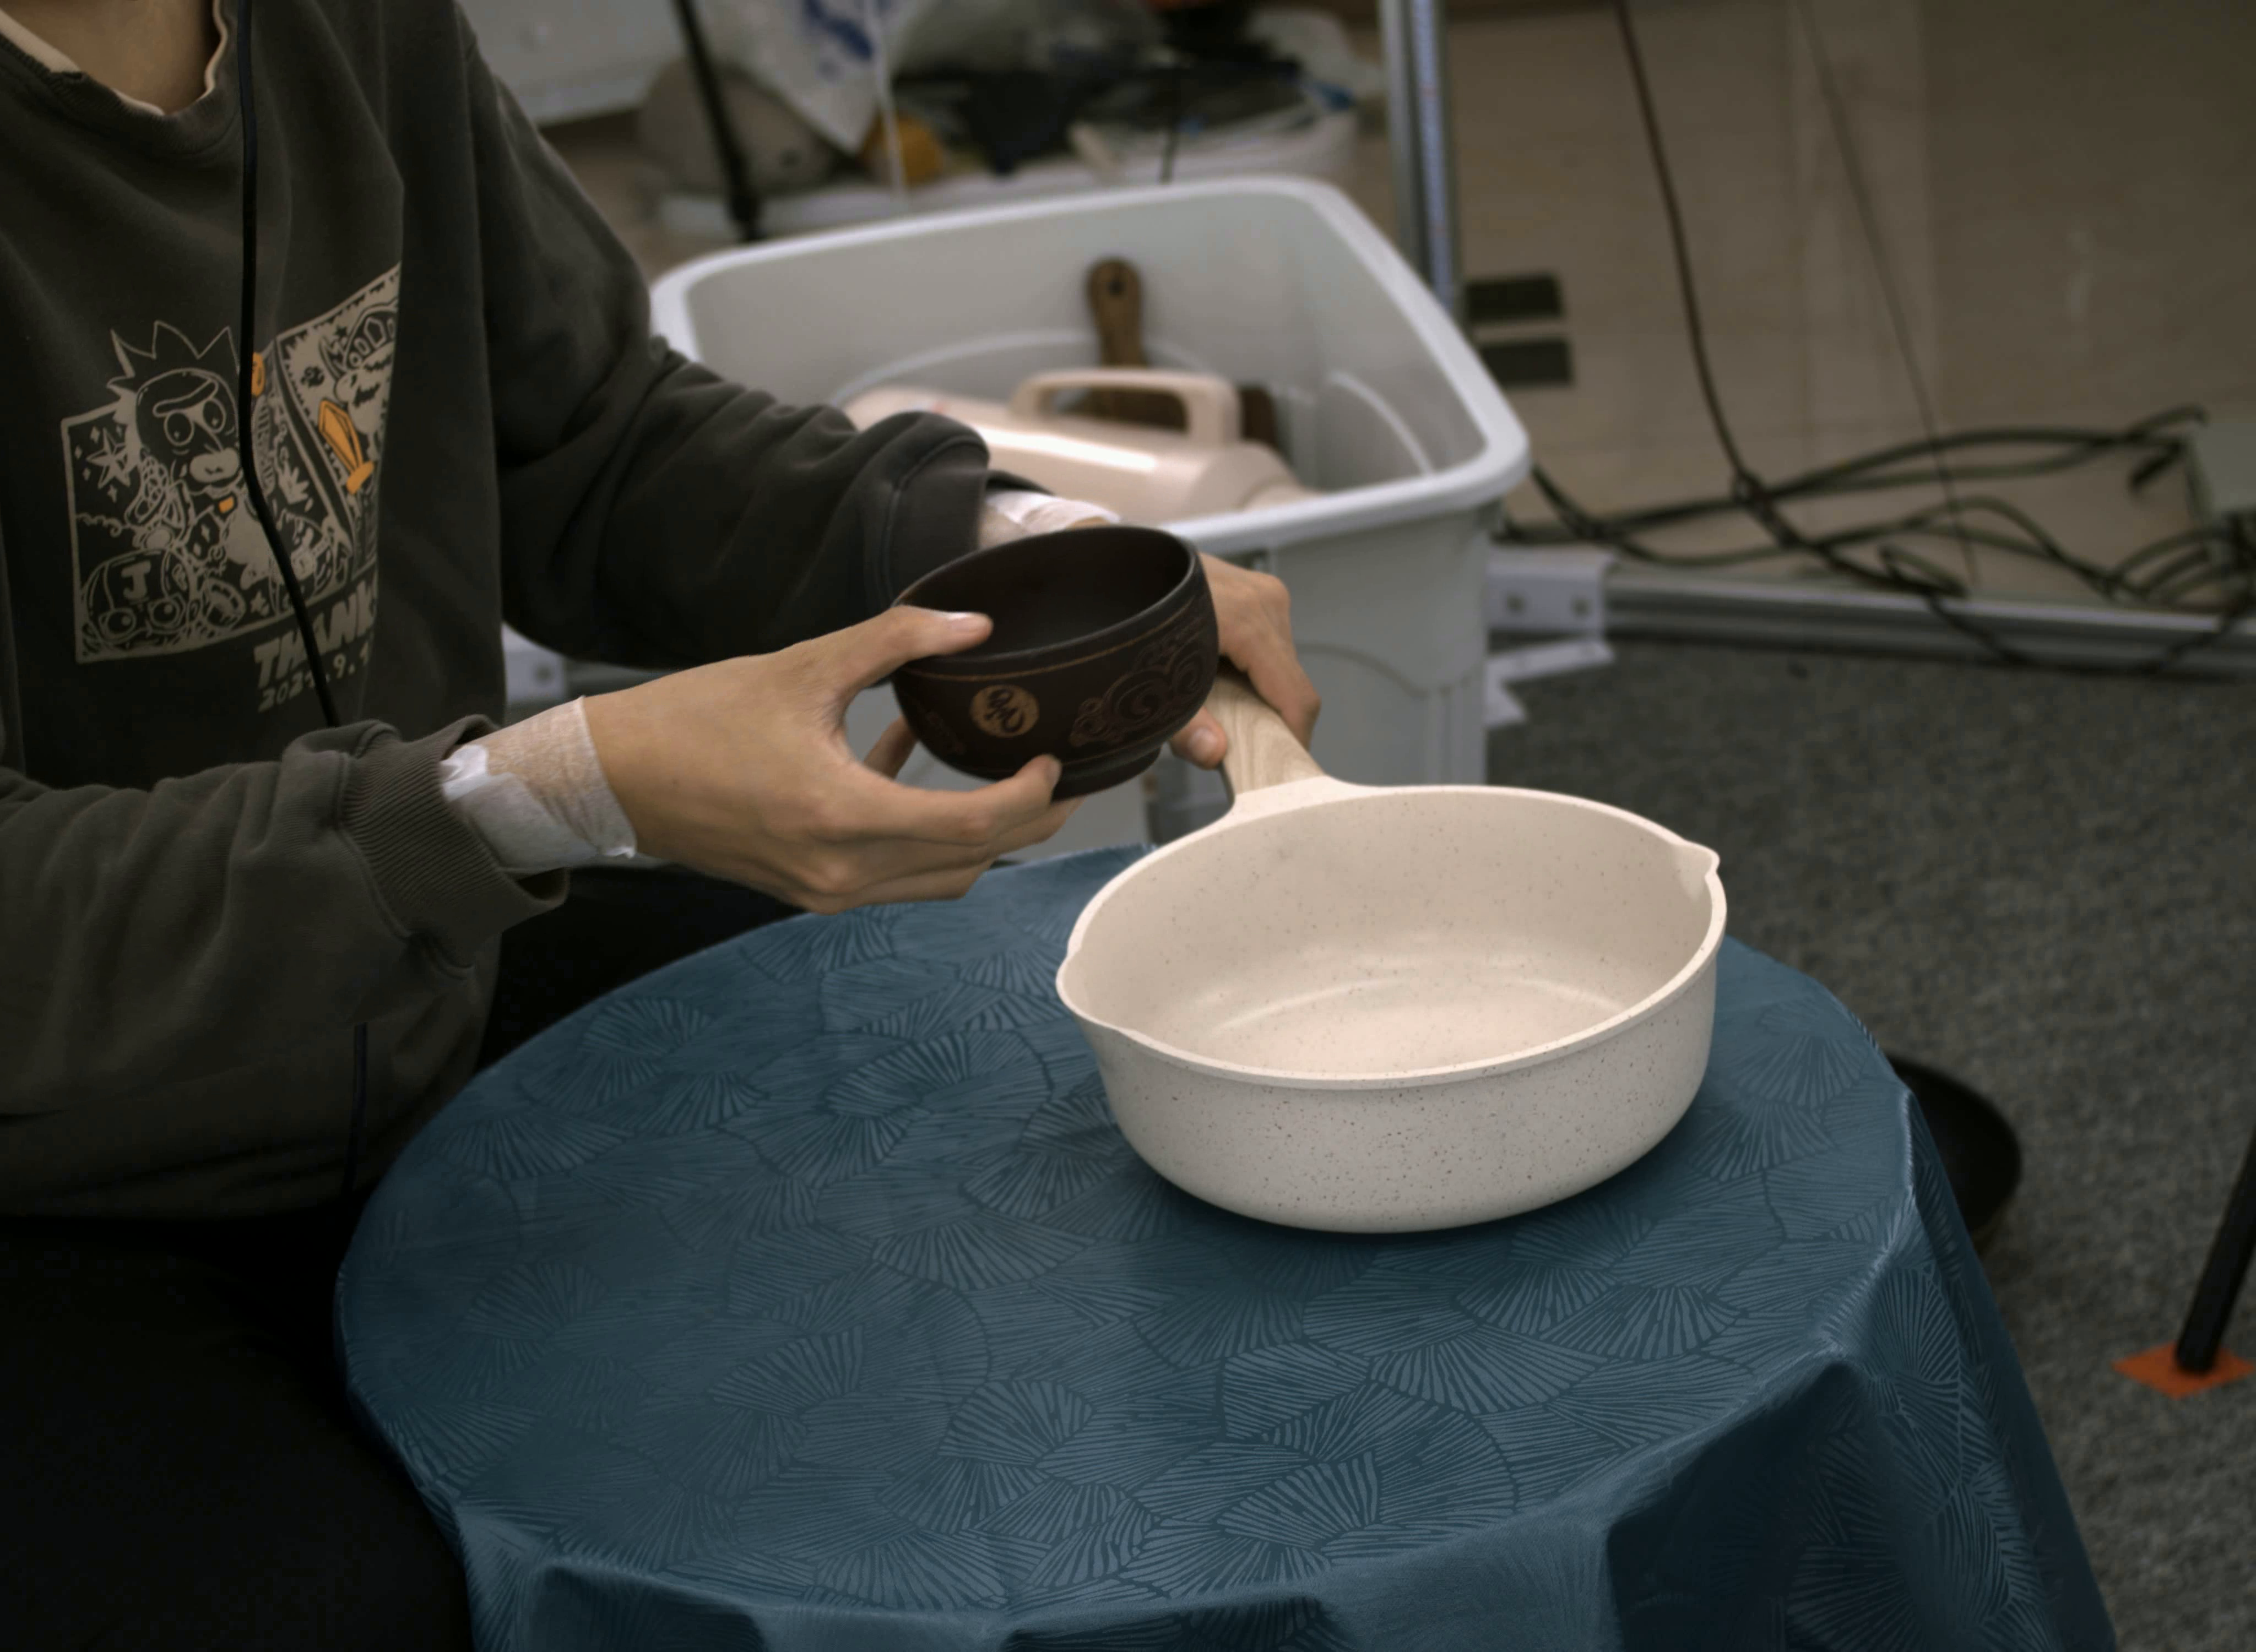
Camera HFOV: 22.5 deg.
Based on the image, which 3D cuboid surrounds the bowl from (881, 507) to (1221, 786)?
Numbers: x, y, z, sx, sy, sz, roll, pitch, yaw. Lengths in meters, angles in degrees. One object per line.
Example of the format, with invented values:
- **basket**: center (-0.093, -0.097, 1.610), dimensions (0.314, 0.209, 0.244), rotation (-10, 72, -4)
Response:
- **bowl**: center (-0.023, -0.058, 1.997), dimensions (0.118, 0.071, 0.116), rotation (-13, 26, 6)

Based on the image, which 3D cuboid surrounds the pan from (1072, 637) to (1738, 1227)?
- **pan**: center (0.083, 0.031, 2.240), dimensions (0.262, 0.103, 0.429), rotation (-14, 26, -12)
